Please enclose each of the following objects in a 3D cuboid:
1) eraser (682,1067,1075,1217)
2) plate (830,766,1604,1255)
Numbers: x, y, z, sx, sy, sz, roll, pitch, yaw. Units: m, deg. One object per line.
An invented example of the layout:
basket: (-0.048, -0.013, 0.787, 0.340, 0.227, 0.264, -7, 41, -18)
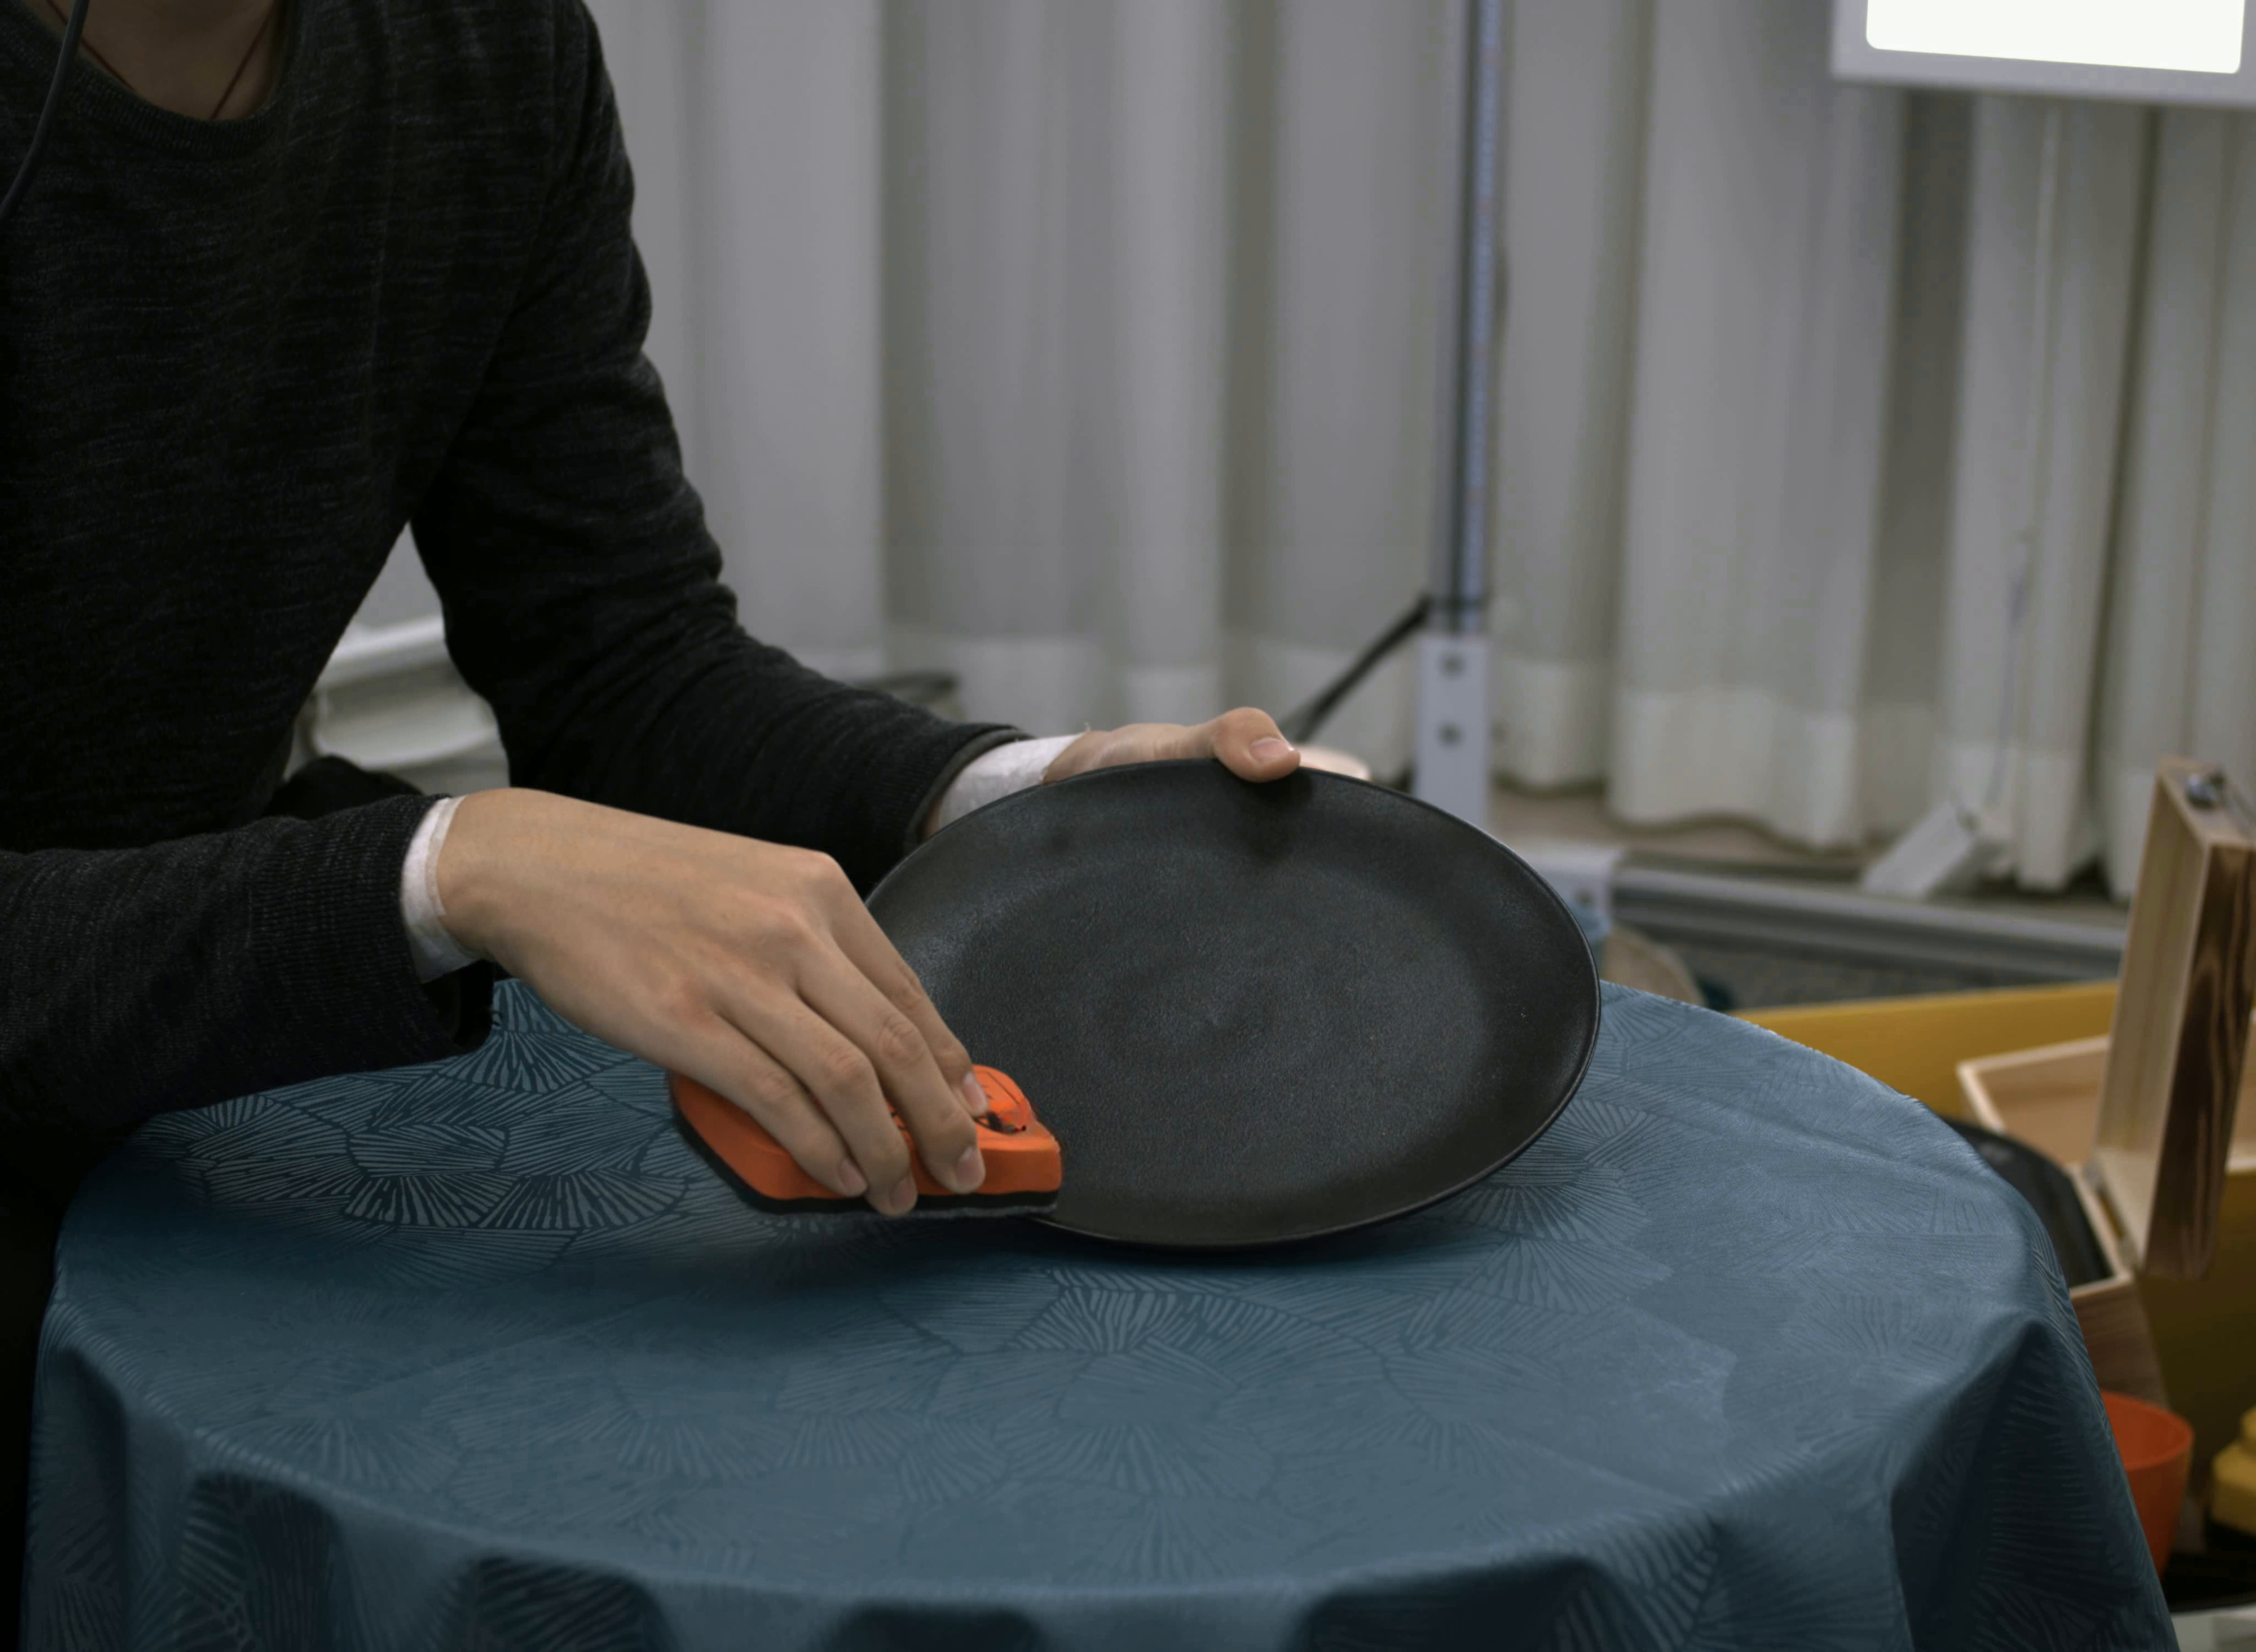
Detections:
eraser: (-0.073, 0.093, 1.556, 0.109, 0.023, 0.058, 2, 22, -31)
plate: (0.028, 0.059, 1.652, 0.243, 0.024, 0.242, 0, 37, 0)
